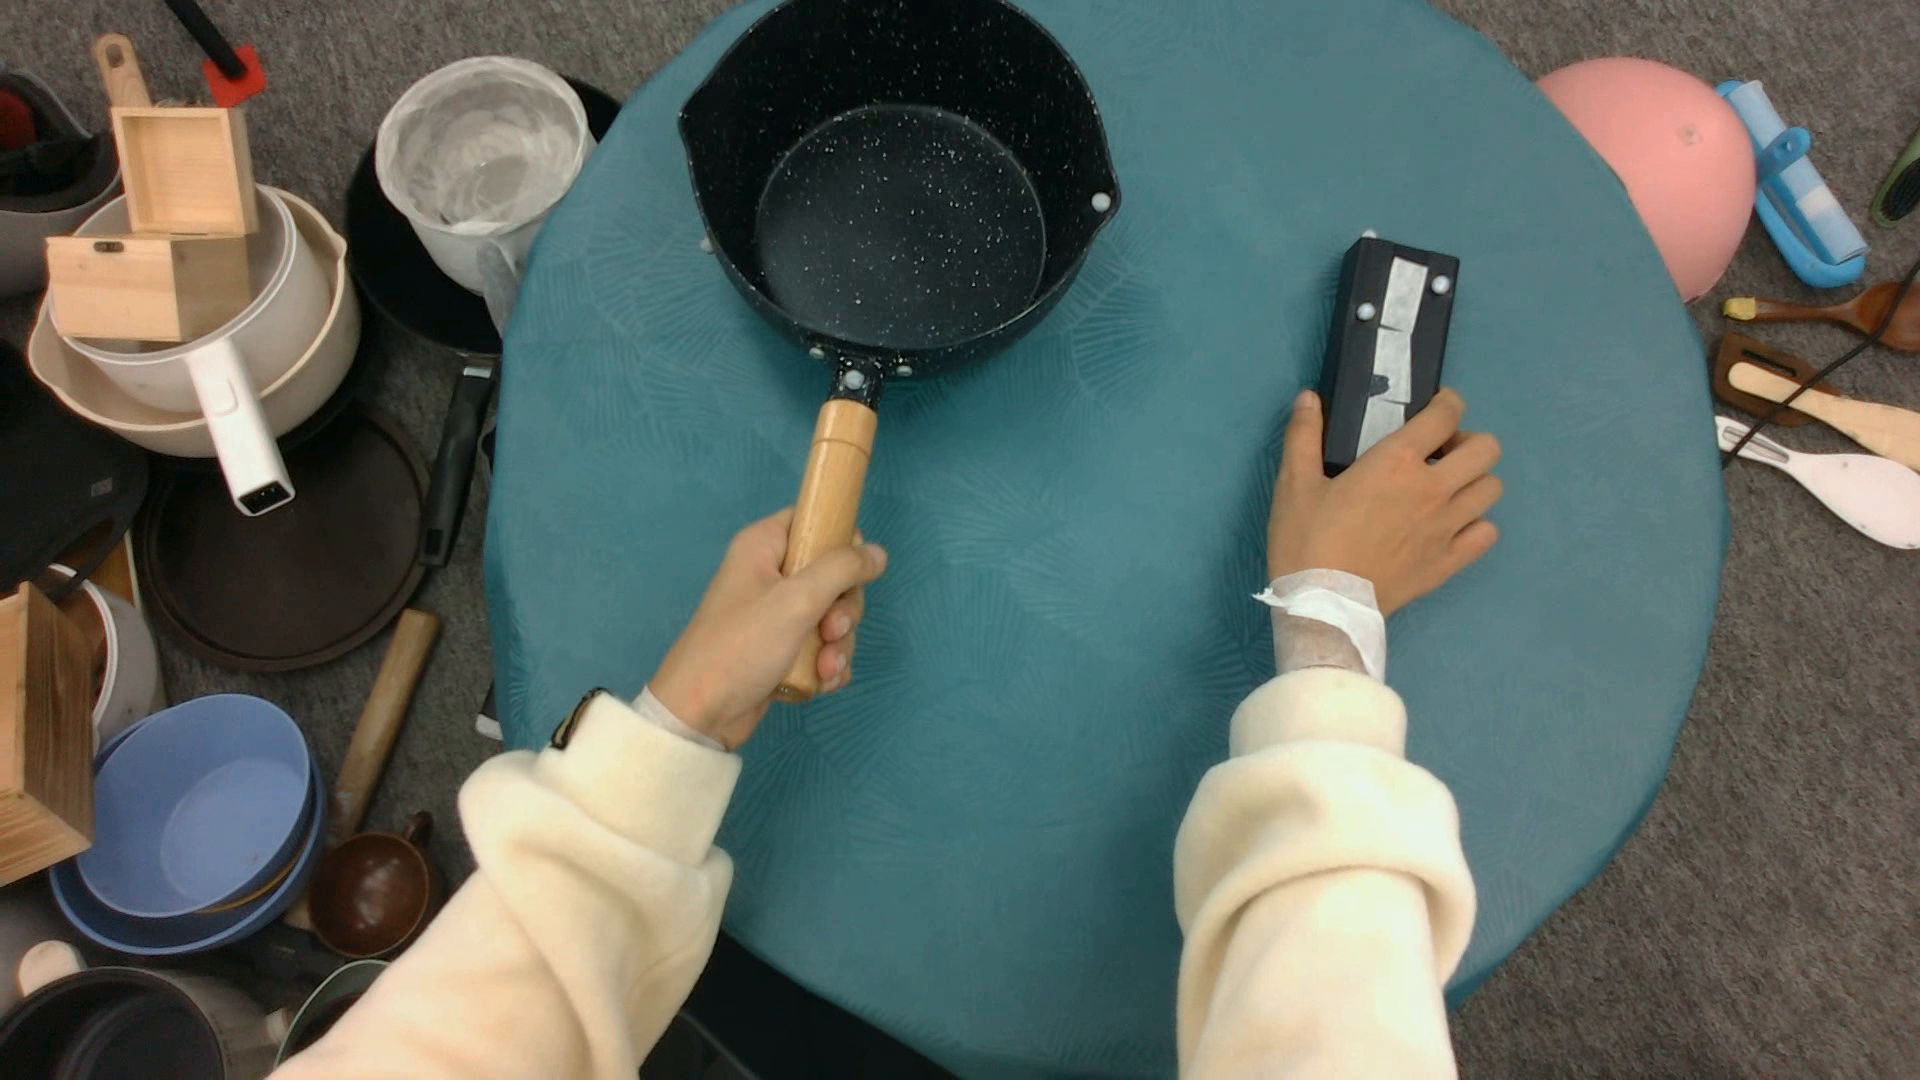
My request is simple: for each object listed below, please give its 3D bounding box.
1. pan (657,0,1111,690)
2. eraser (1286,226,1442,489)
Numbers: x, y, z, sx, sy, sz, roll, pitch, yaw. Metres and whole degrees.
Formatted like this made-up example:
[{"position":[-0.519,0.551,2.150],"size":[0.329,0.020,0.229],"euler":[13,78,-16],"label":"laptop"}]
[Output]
[{"position":[-0.046,-0.093,0.620],"size":[0.207,0.108,0.343],"euler":[10,74,-2],"label":"pan"},{"position":[0.197,-0.090,0.675],"size":[0.053,0.030,0.126],"euler":[14,76,1],"label":"eraser"}]
